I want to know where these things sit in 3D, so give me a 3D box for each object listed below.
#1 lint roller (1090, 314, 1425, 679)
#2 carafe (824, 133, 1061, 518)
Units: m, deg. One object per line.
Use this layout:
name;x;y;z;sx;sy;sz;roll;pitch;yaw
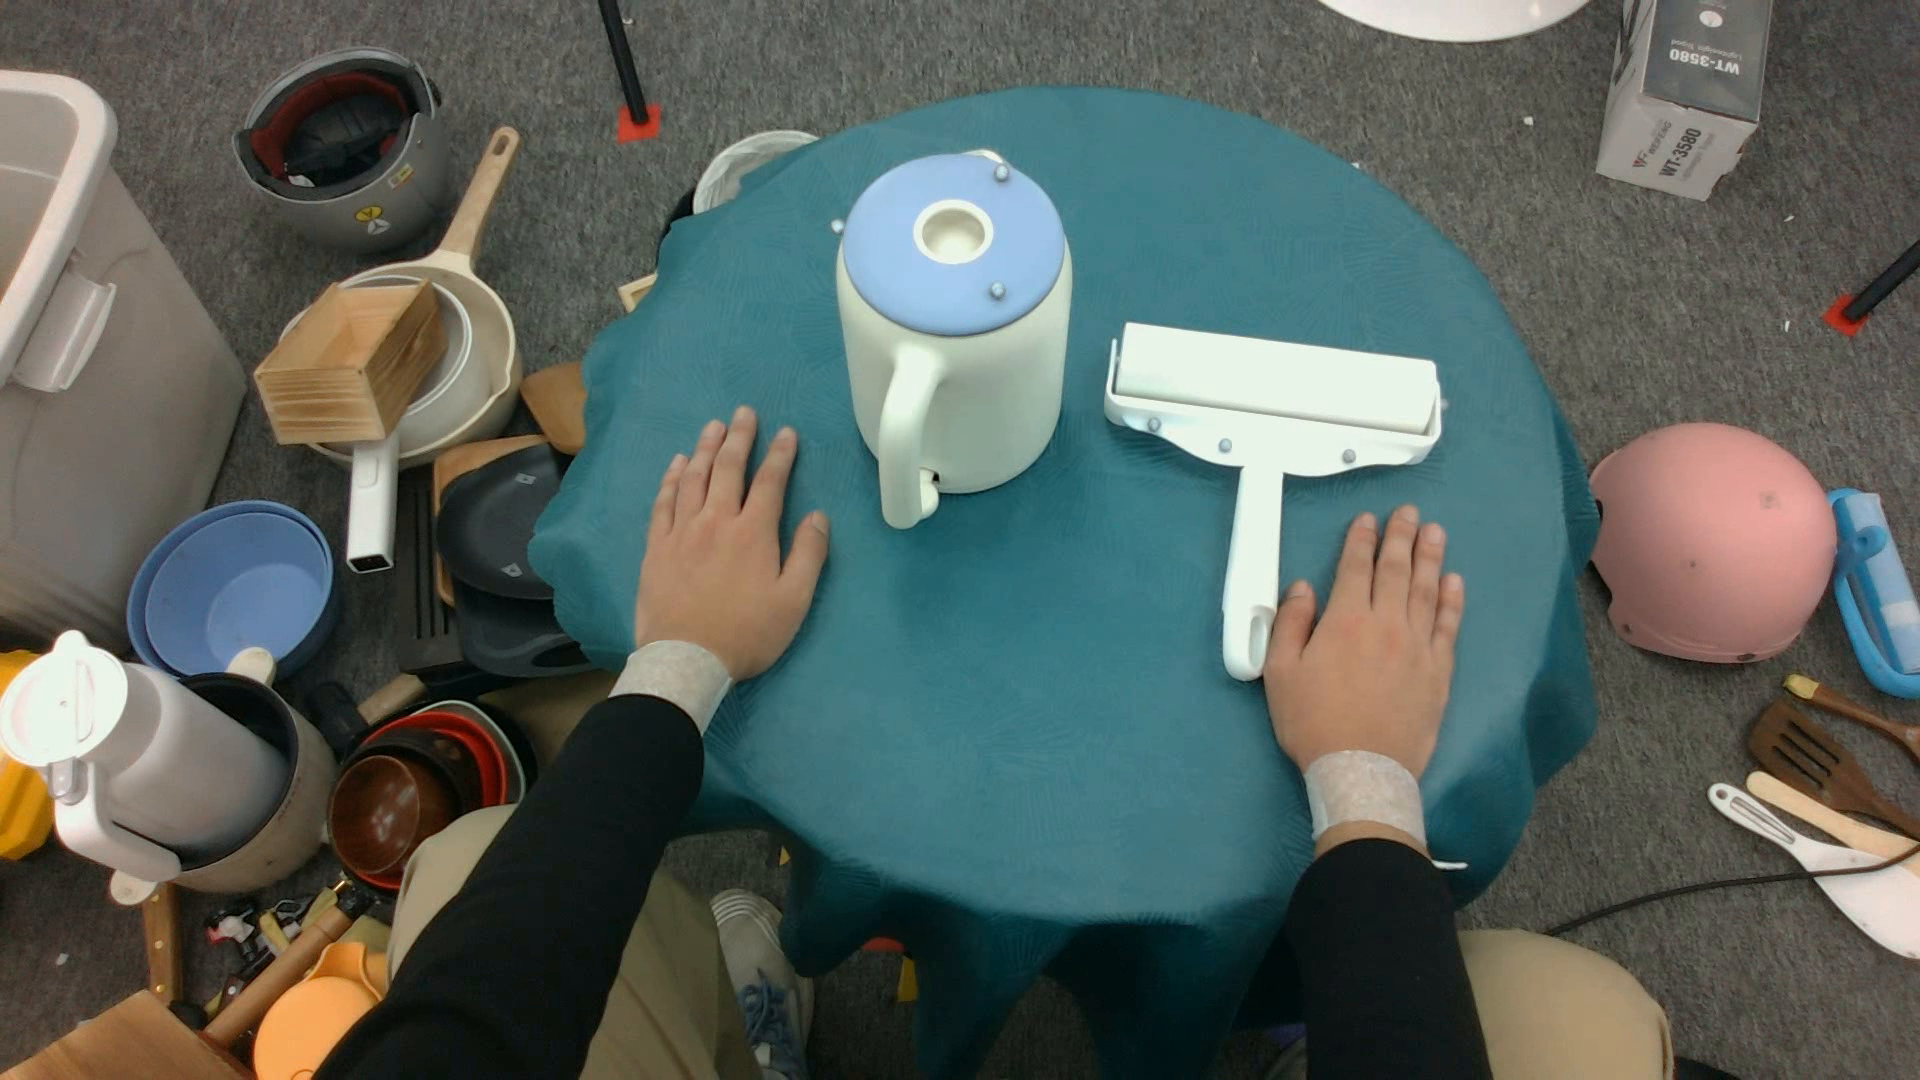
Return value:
lint roller;0.173;-0.027;0.823;0.203;0.048;0.226;8;65;2
carafe;-0.015;-0.108;0.791;0.132;0.182;0.192;12;66;7
